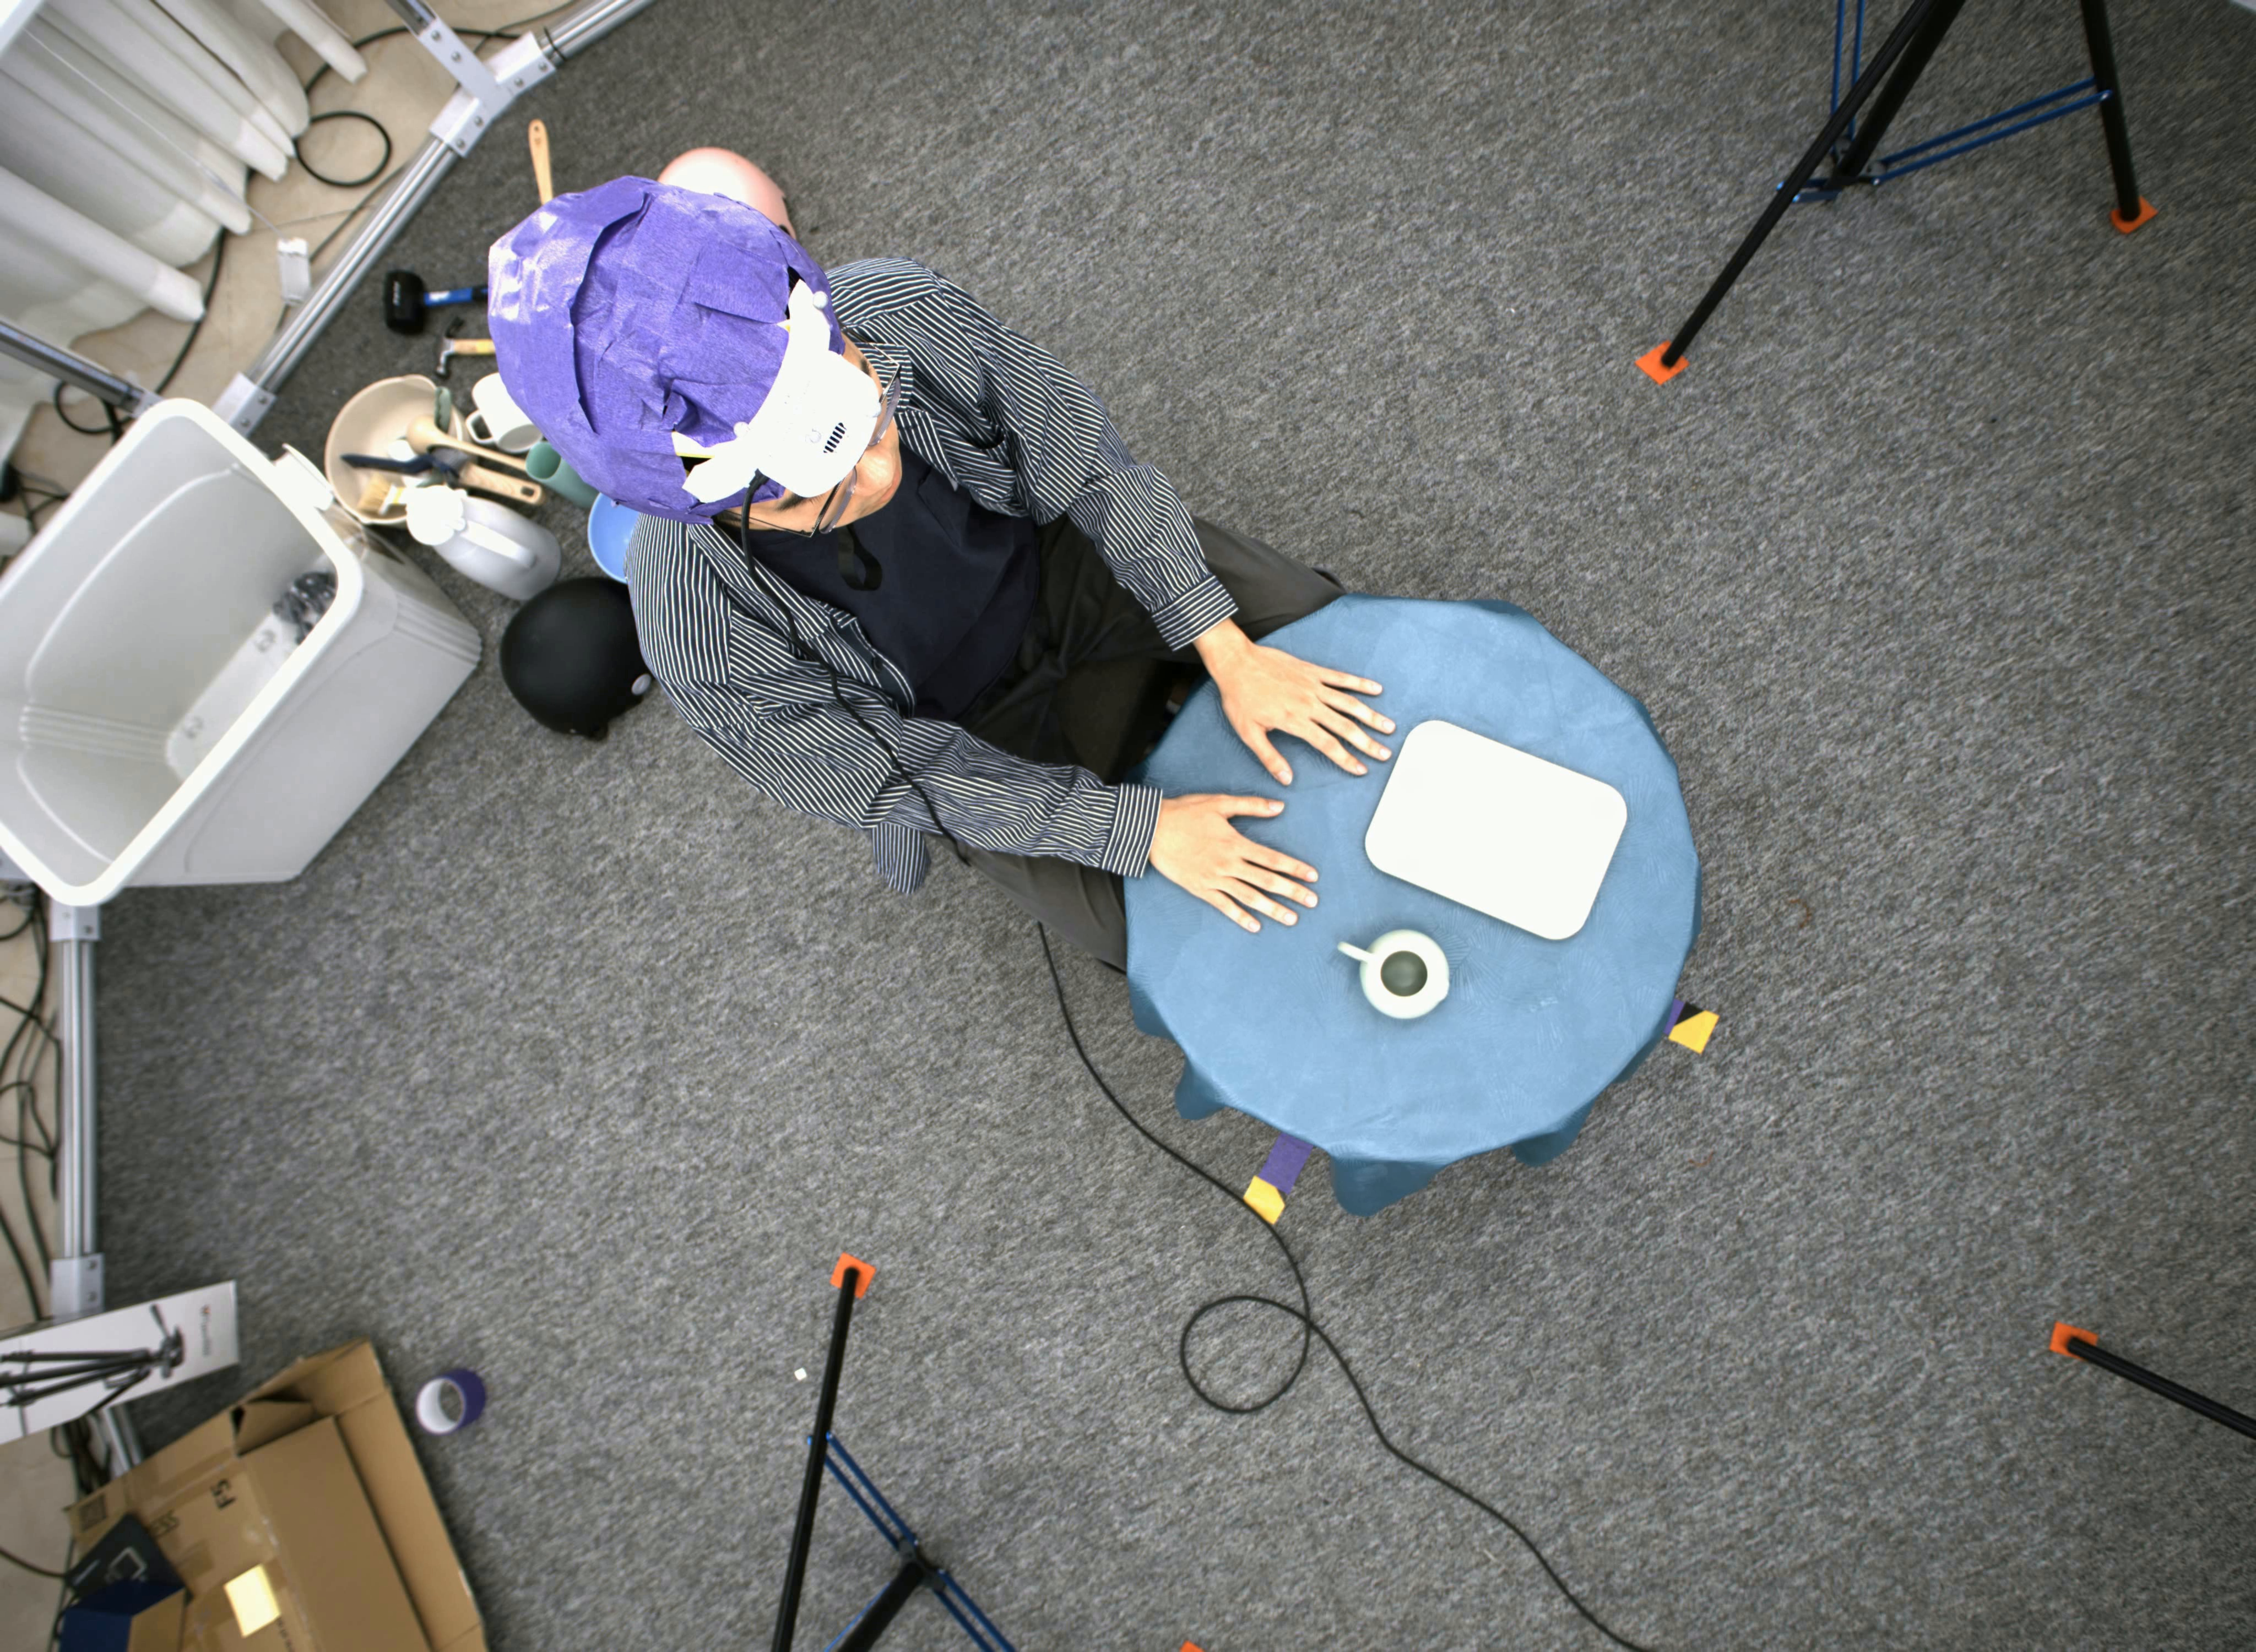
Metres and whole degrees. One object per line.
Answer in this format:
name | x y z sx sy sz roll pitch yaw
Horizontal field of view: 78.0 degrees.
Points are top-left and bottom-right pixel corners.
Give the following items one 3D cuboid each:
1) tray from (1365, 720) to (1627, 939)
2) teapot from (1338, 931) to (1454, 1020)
tray | 0.379 0.001 1.423 0.239 0.017 0.171 23 91 10
teapot | 0.273 0.147 1.416 0.128 0.061 0.092 28 94 11
